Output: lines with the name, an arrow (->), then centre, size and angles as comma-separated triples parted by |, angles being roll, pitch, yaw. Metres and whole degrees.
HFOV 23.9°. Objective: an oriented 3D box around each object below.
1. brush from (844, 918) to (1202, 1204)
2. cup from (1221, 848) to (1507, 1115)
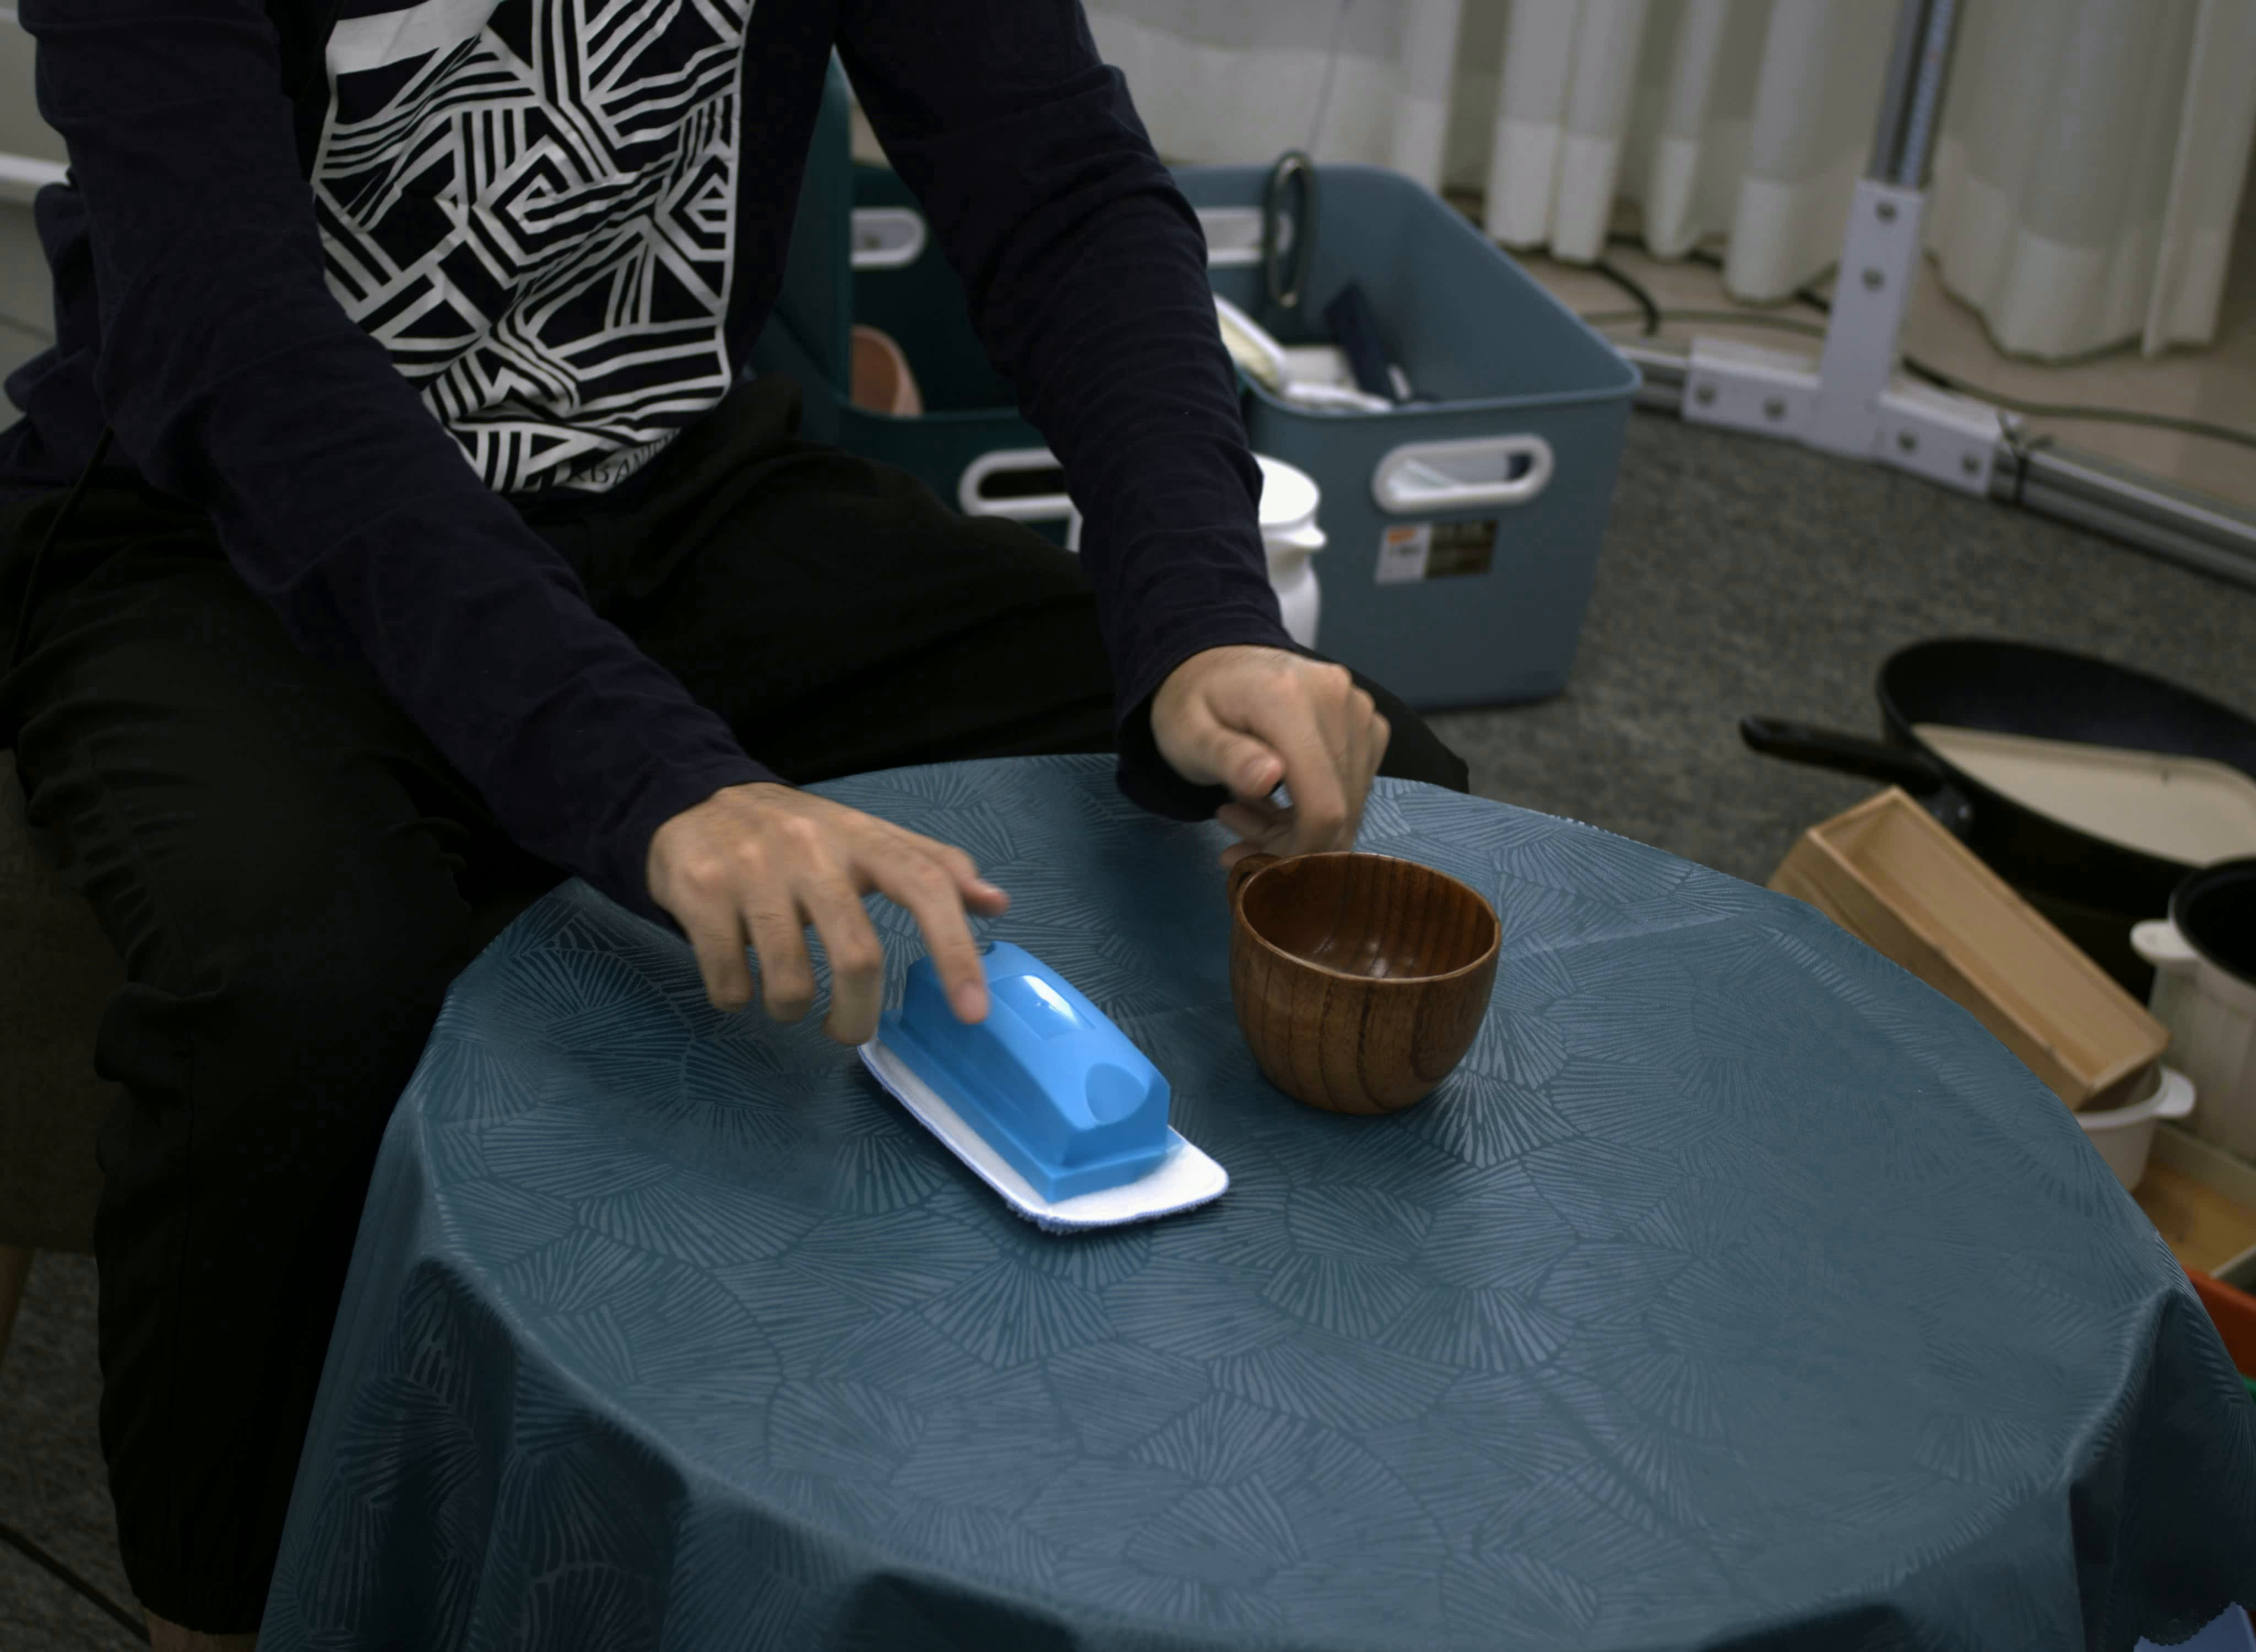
brush -> -0.033, 0.076, 1.826 | 0.083, 0.056, 0.145 | -6, 32, -30
cup -> 0.076, 0.054, 1.889 | 0.095, 0.067, 0.120 | -20, 34, -35
